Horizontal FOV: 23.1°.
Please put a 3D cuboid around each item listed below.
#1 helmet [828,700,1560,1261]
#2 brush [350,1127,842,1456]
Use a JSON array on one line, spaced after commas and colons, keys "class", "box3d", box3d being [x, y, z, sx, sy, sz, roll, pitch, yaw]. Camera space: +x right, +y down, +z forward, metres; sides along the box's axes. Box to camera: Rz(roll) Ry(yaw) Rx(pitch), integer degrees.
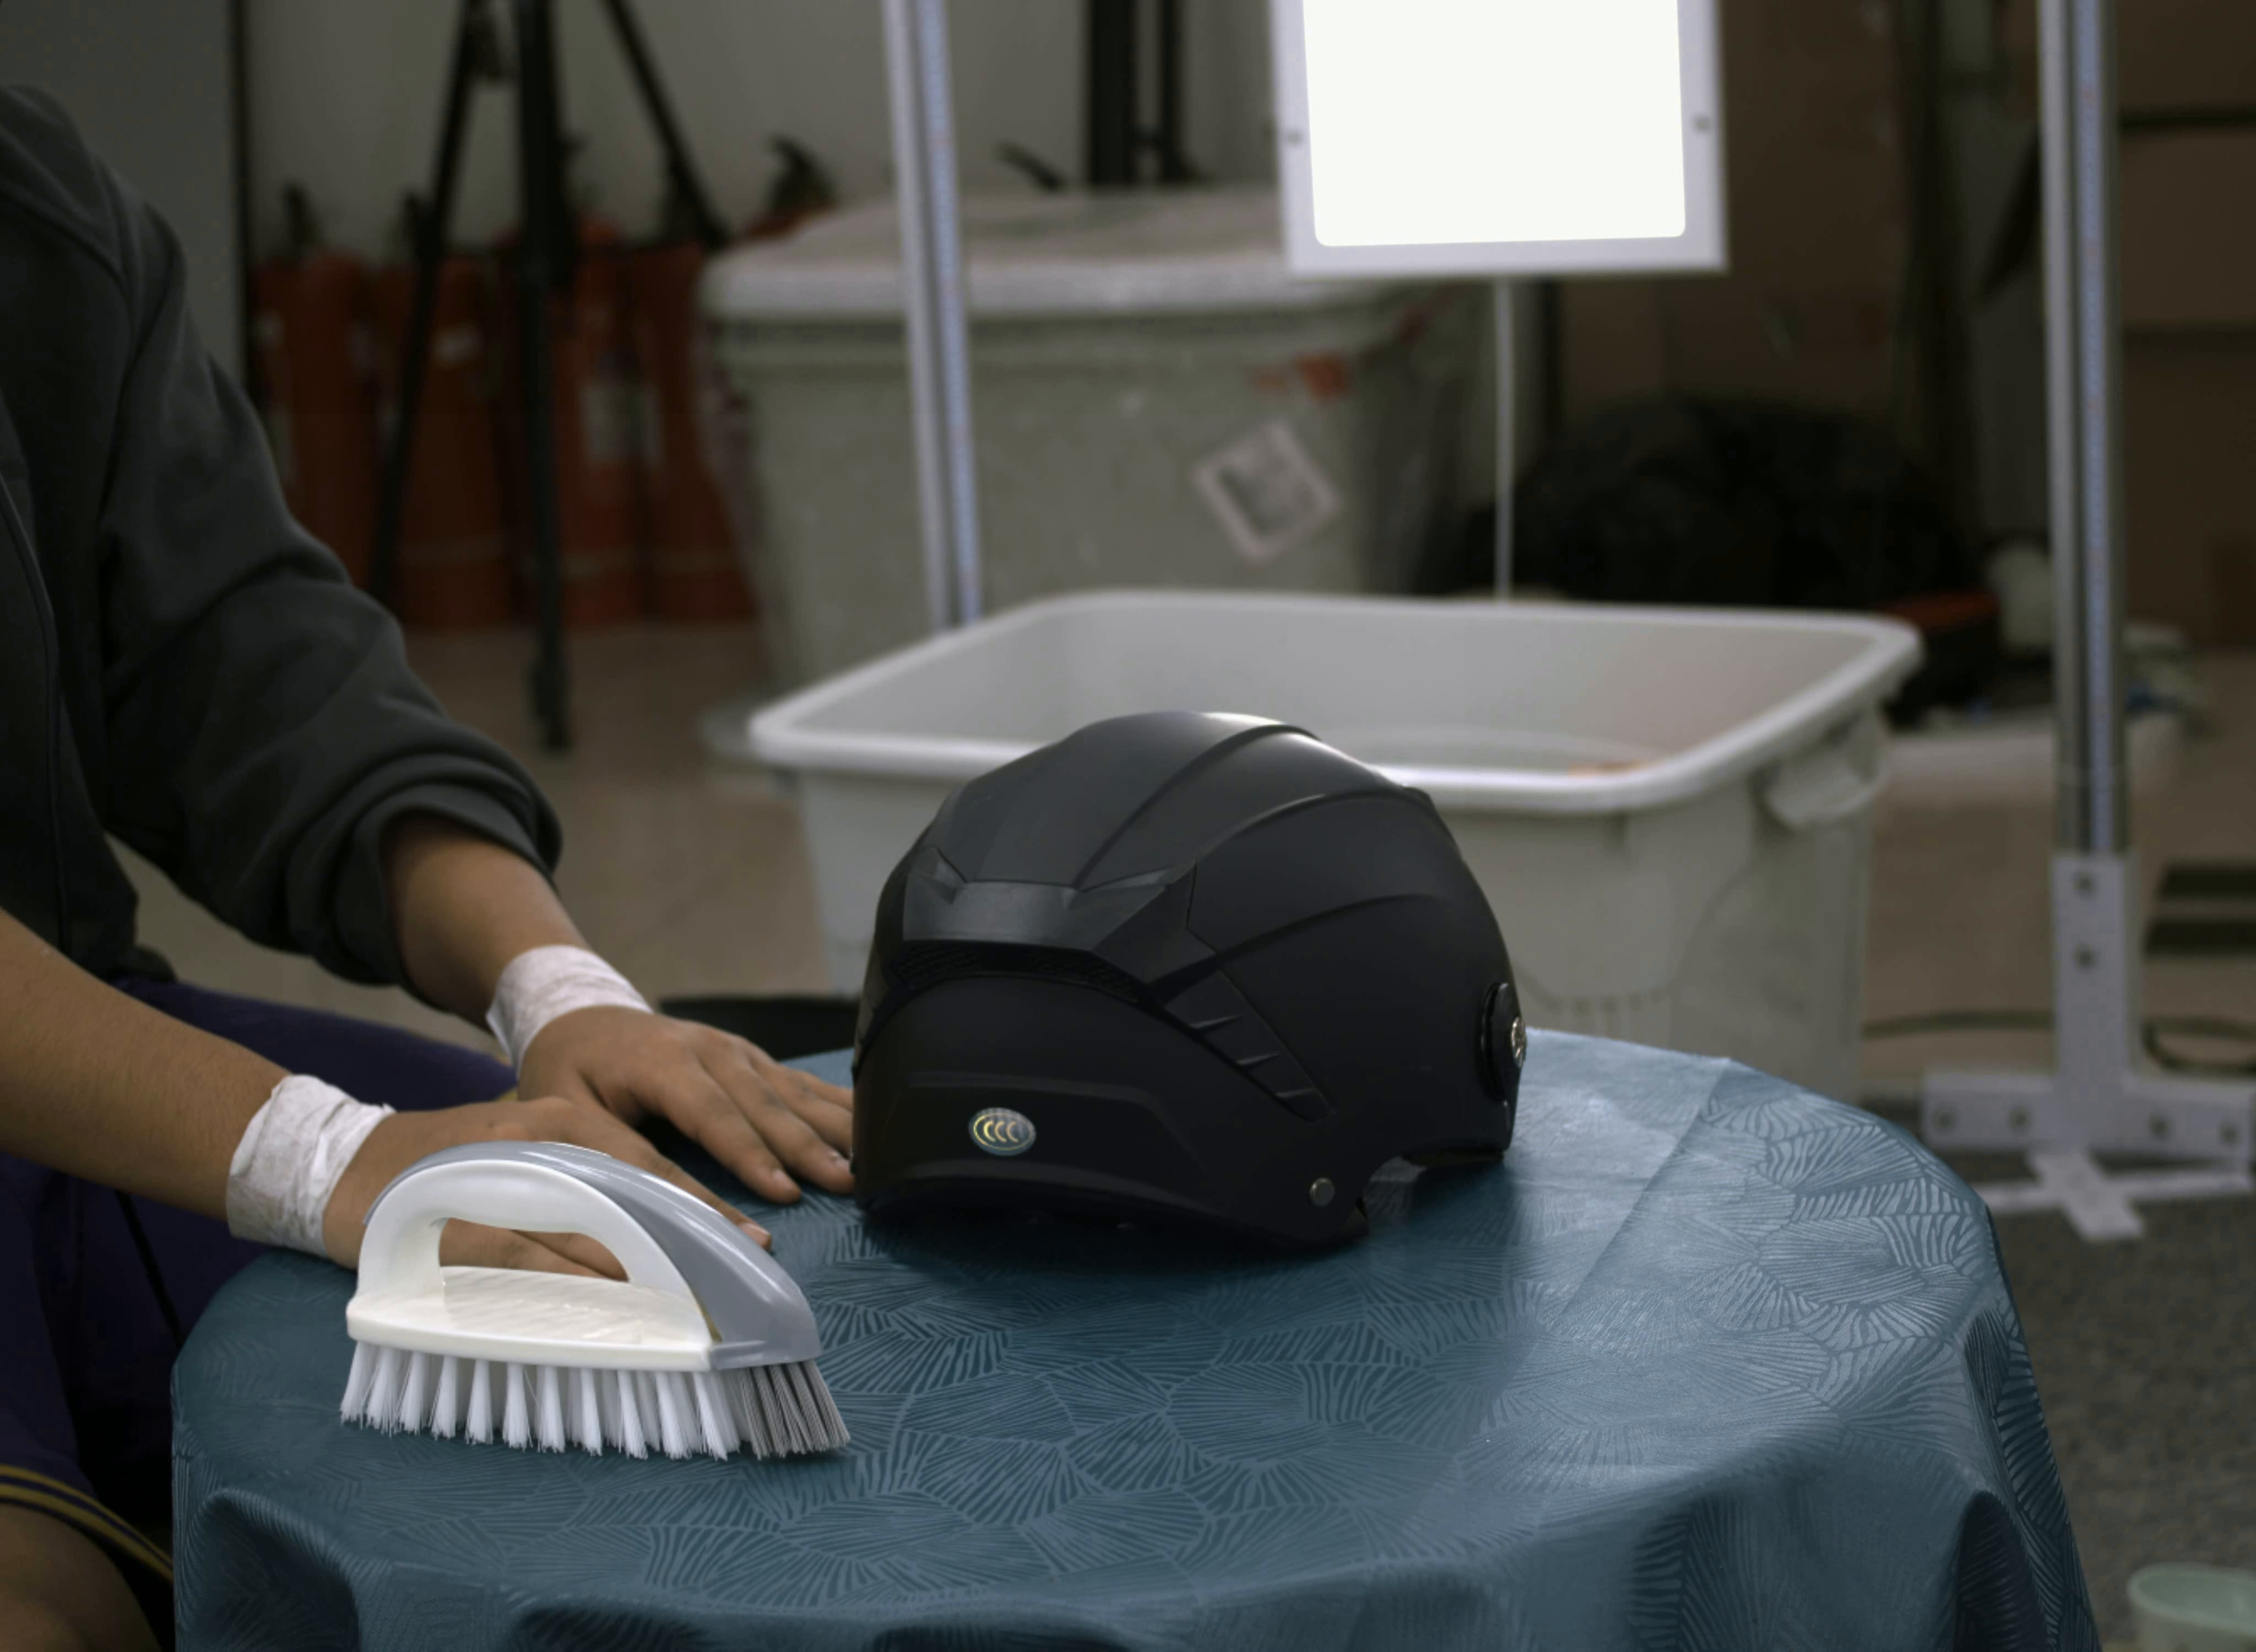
[{"class": "helmet", "box3d": [0.019, 0.043, 1.899, 0.251, 0.173, 0.270, 4, 20, 29]}, {"class": "brush", "box3d": [-0.164, 0.142, 1.705, 0.179, 0.094, 0.060, 6, 19, 33]}]
